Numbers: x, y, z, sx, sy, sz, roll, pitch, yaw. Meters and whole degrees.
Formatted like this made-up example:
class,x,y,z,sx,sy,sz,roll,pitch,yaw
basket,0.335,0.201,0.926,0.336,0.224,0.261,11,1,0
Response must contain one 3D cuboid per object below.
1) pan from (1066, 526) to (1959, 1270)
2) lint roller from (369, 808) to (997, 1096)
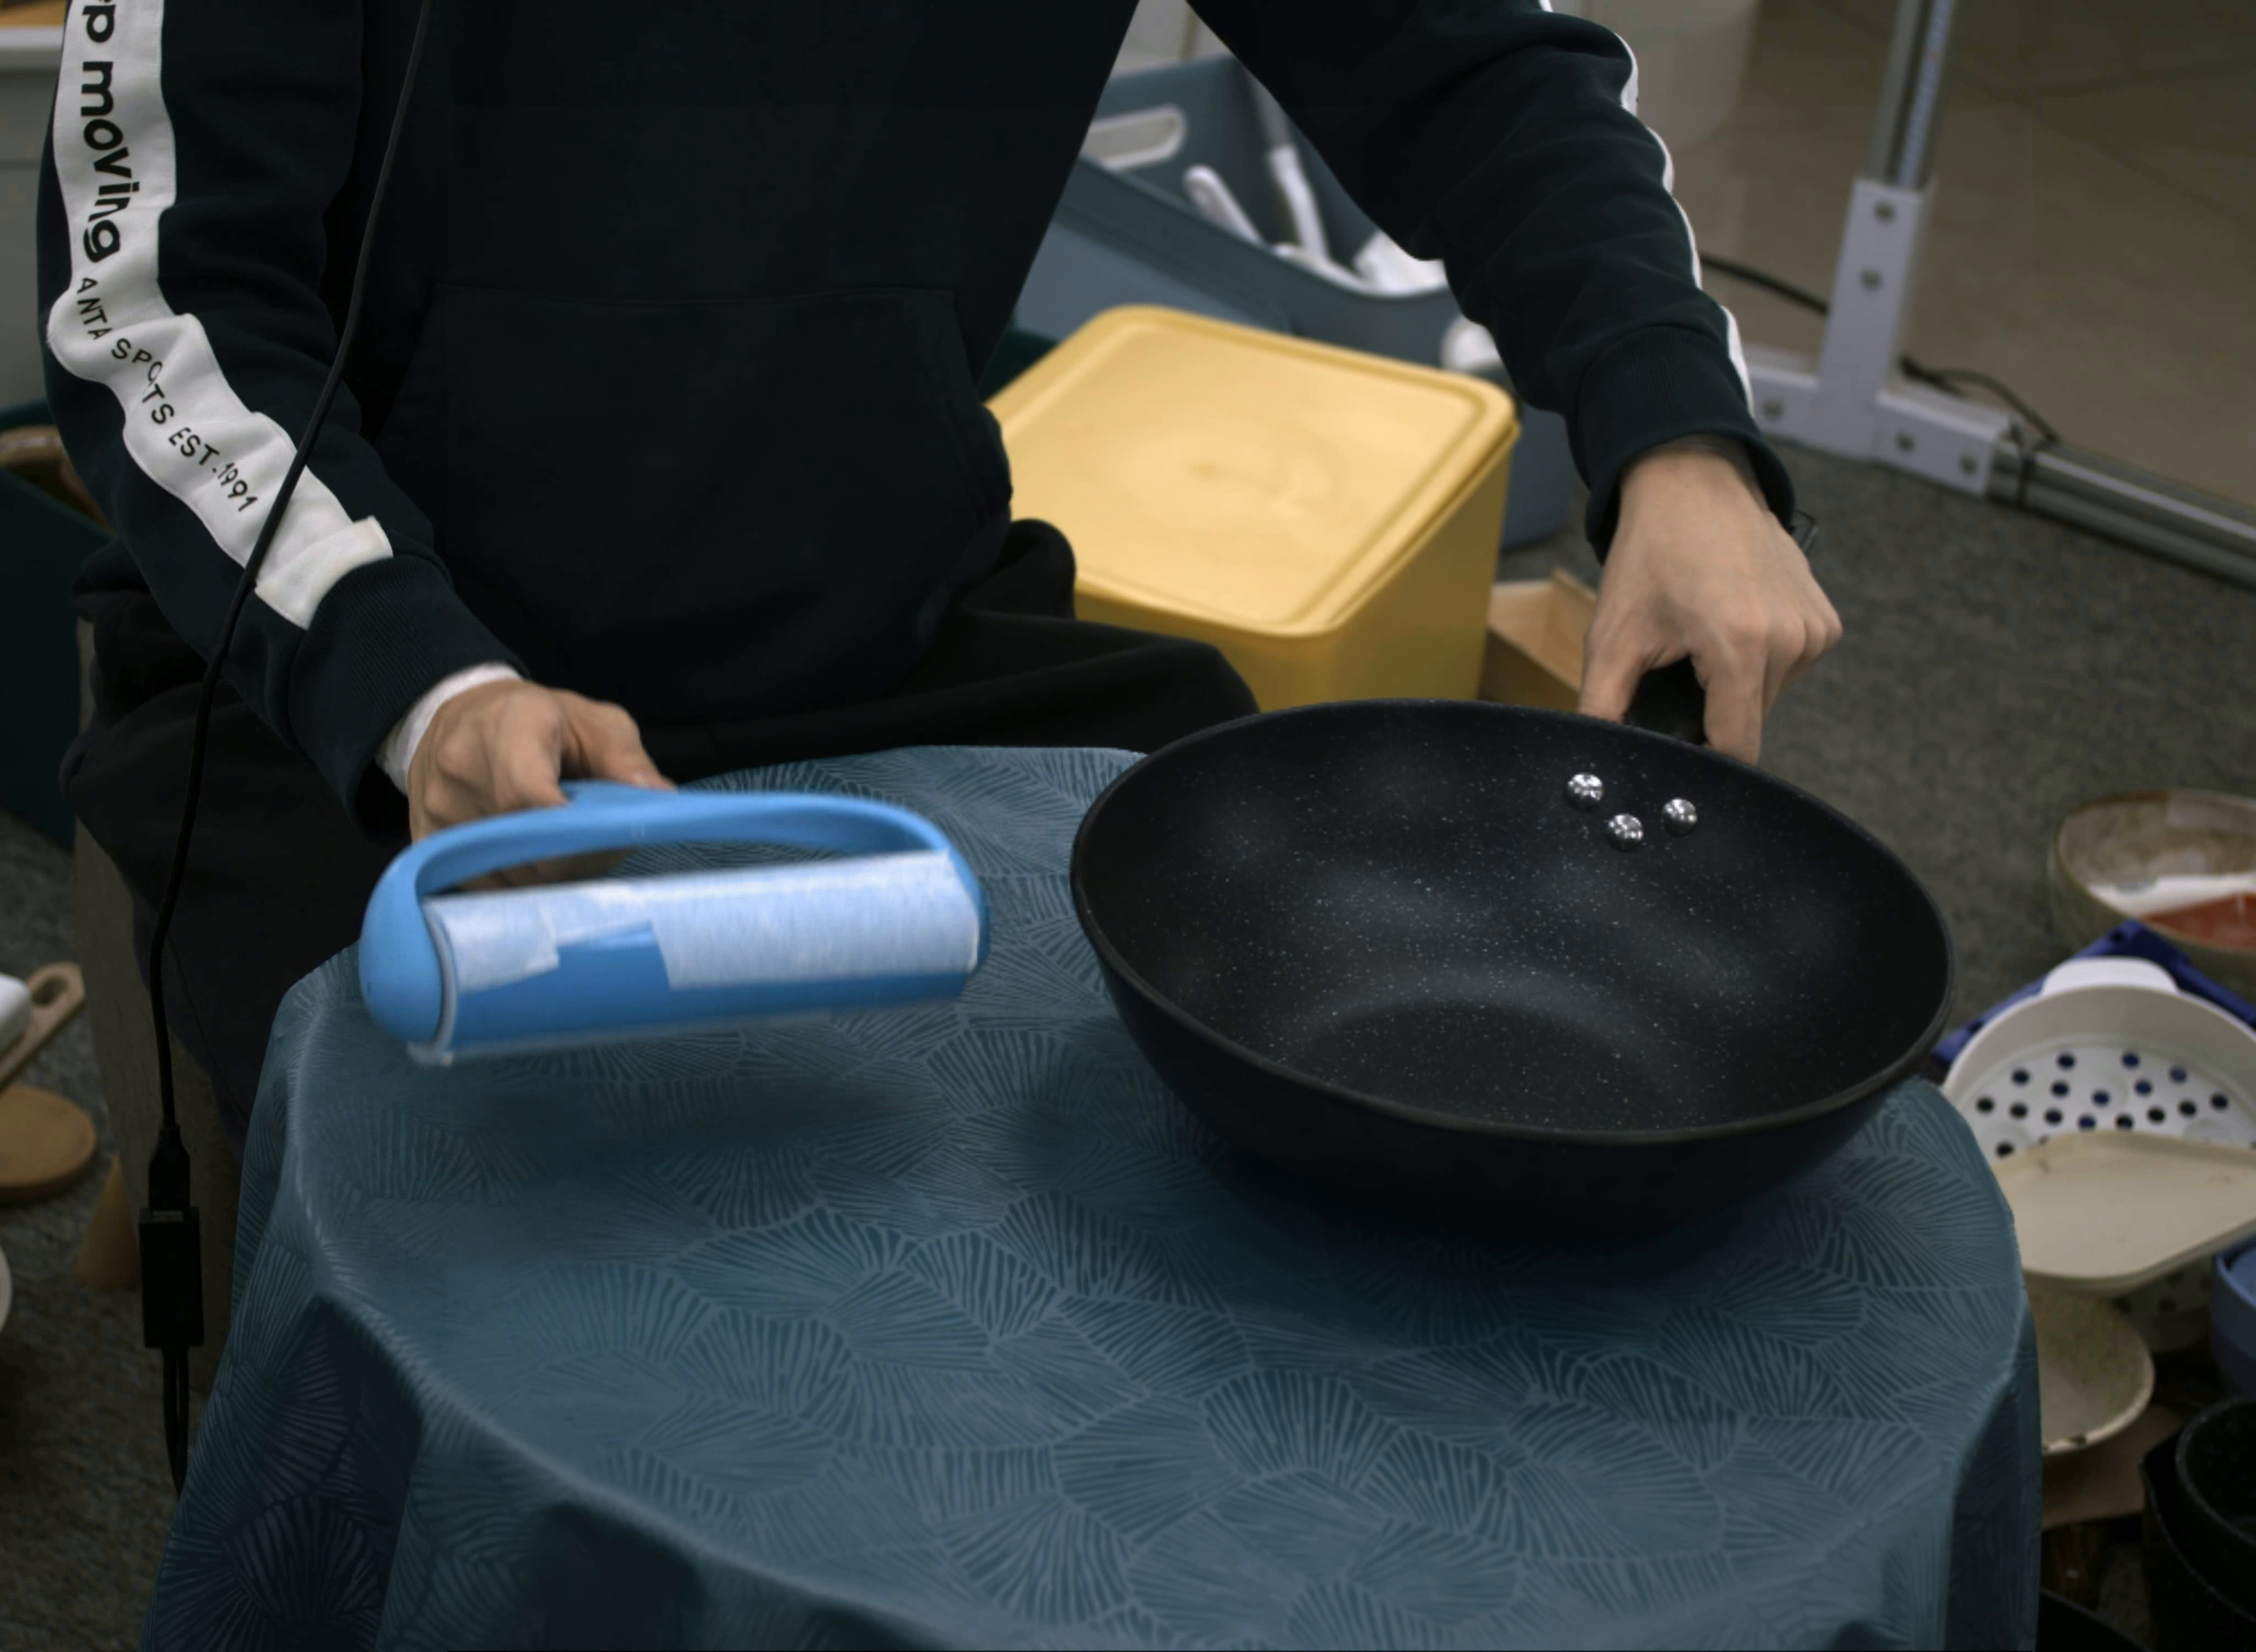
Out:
class,x,y,z,sx,sy,sz,roll,pitch,yaw
pan,0.161,0.025,1.909,0.311,0.111,0.477,17,30,17
lint roller,-0.177,0.026,1.811,0.227,0.068,0.182,-9,29,-33
